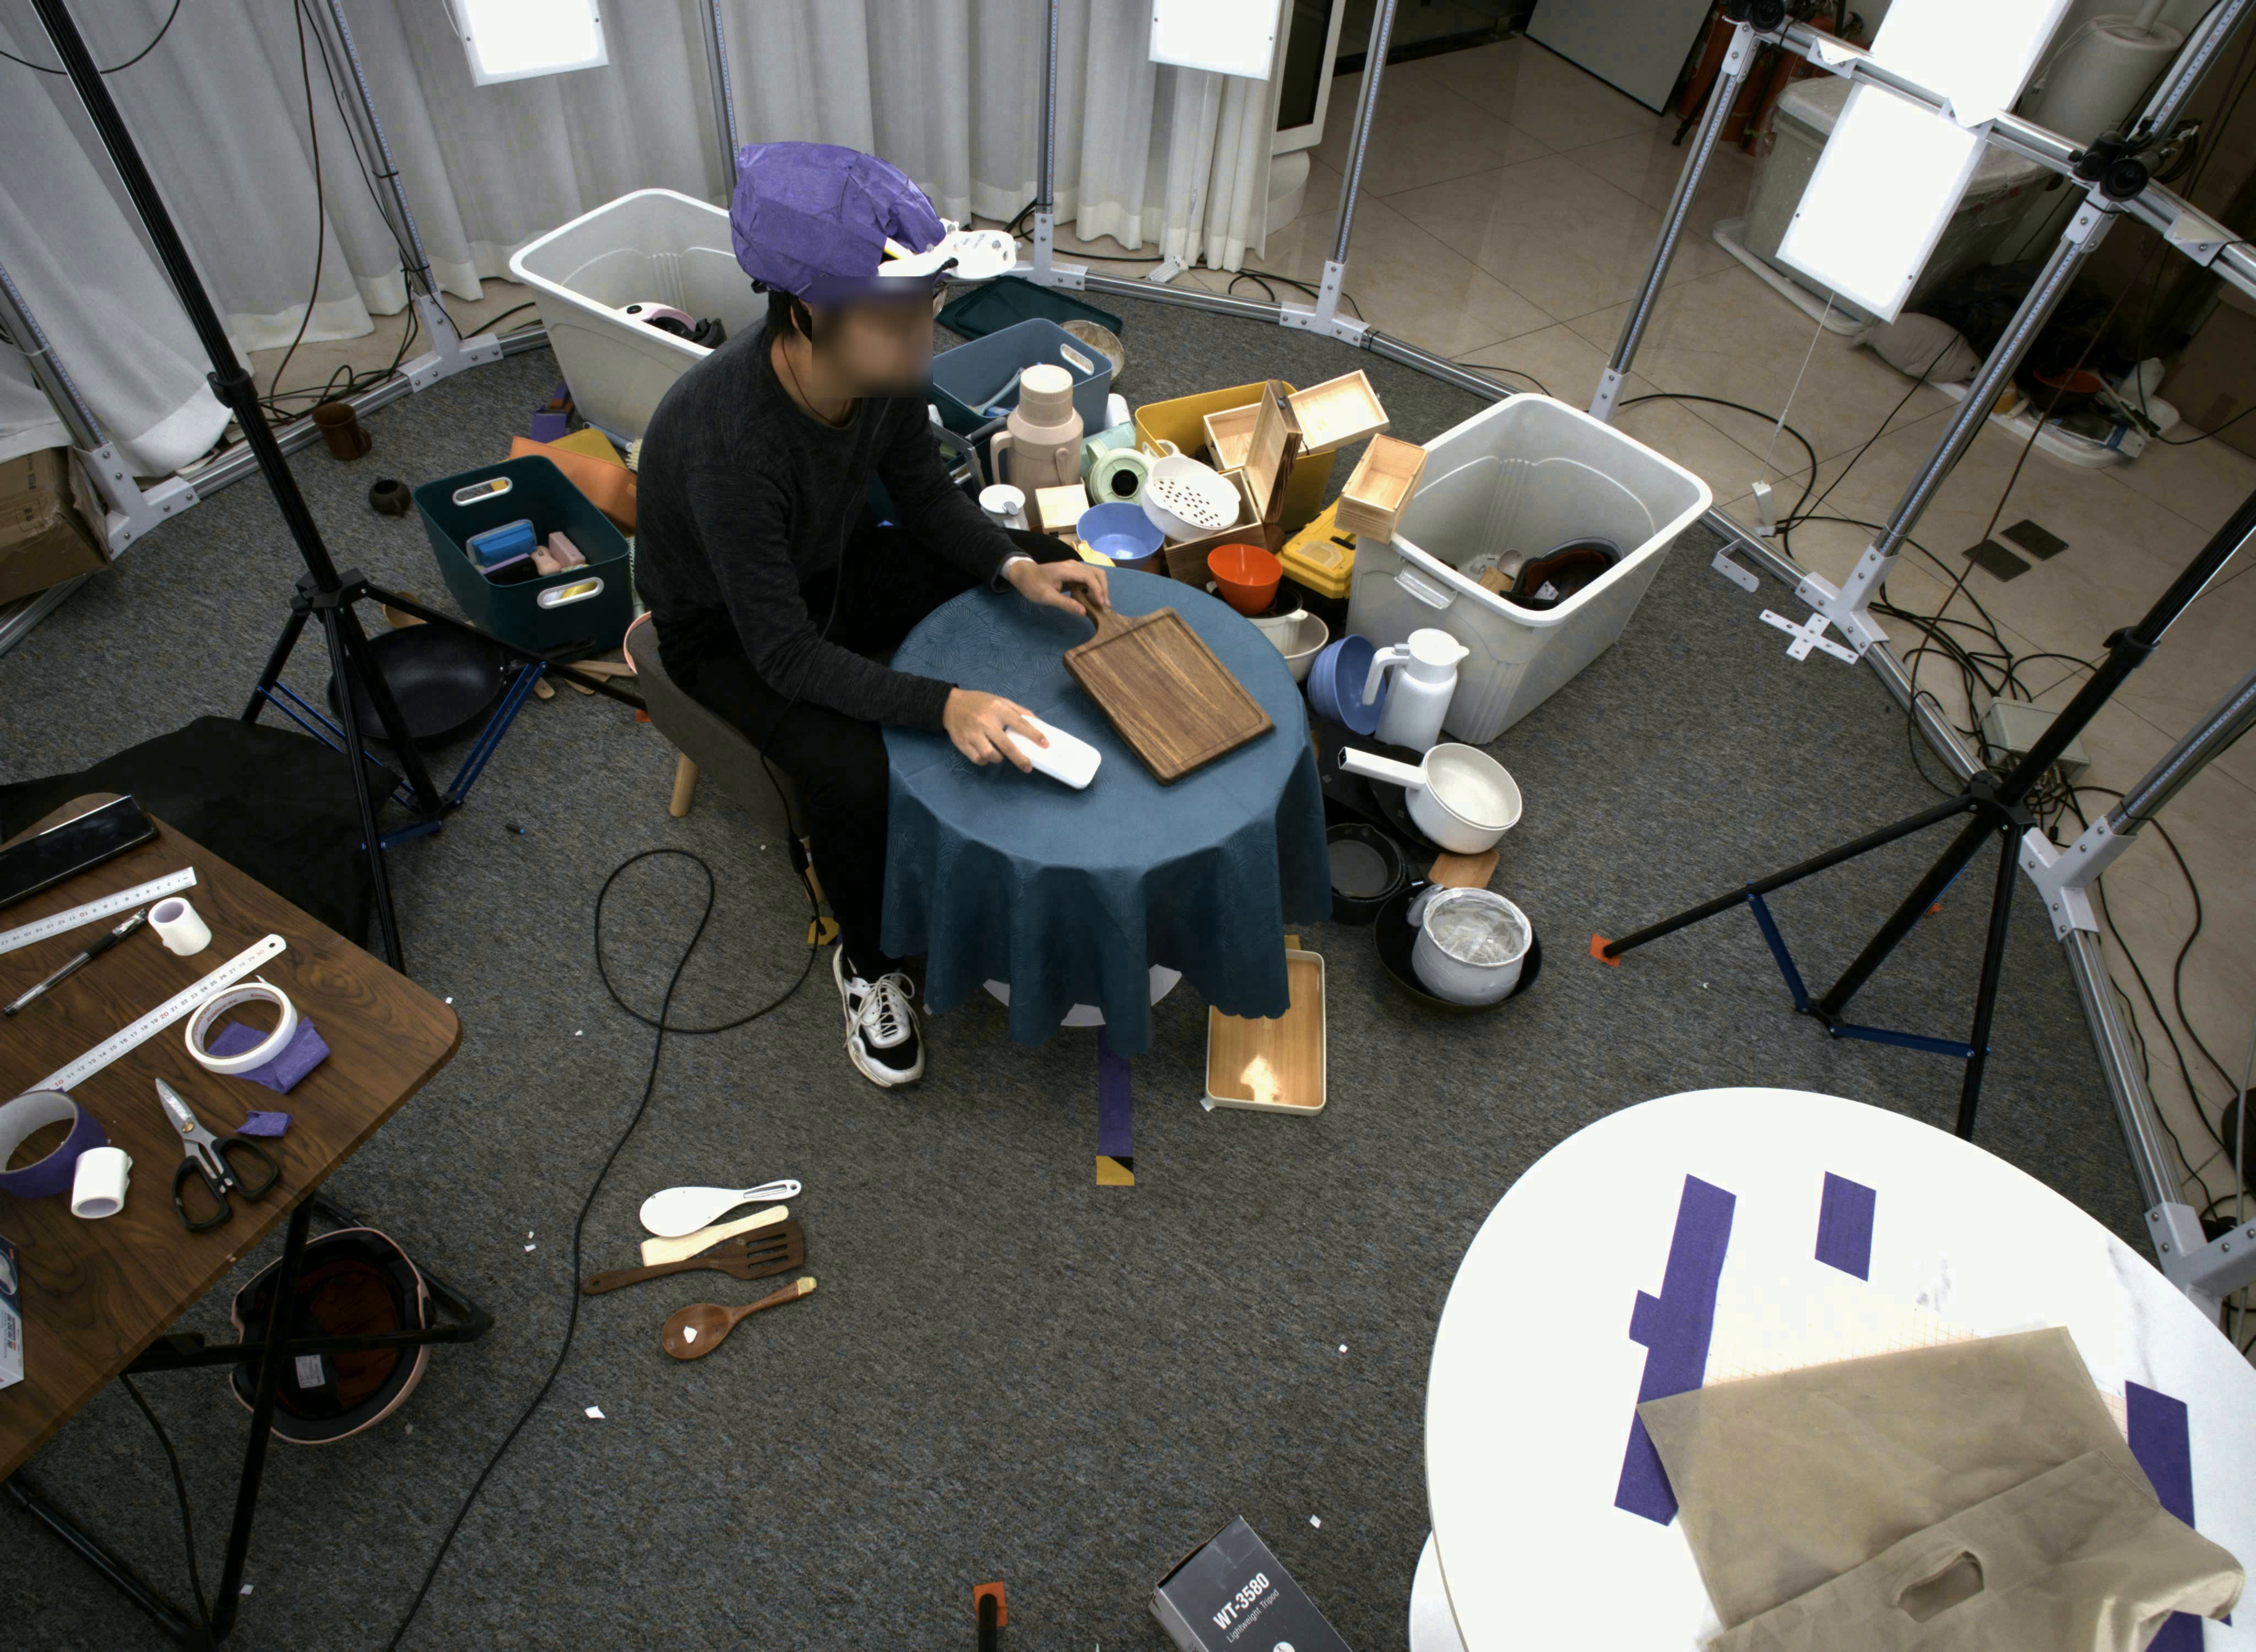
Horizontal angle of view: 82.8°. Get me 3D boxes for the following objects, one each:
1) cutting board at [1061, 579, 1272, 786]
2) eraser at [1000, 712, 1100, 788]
[{"bbox_3d":[0.025,-0.226,1.818,0.202,0.023,0.358,-28,66,-25],"label":"cutting board"},{"bbox_3d":[-0.103,-0.103,1.701,0.131,0.034,0.064,27,55,2],"label":"eraser"}]
